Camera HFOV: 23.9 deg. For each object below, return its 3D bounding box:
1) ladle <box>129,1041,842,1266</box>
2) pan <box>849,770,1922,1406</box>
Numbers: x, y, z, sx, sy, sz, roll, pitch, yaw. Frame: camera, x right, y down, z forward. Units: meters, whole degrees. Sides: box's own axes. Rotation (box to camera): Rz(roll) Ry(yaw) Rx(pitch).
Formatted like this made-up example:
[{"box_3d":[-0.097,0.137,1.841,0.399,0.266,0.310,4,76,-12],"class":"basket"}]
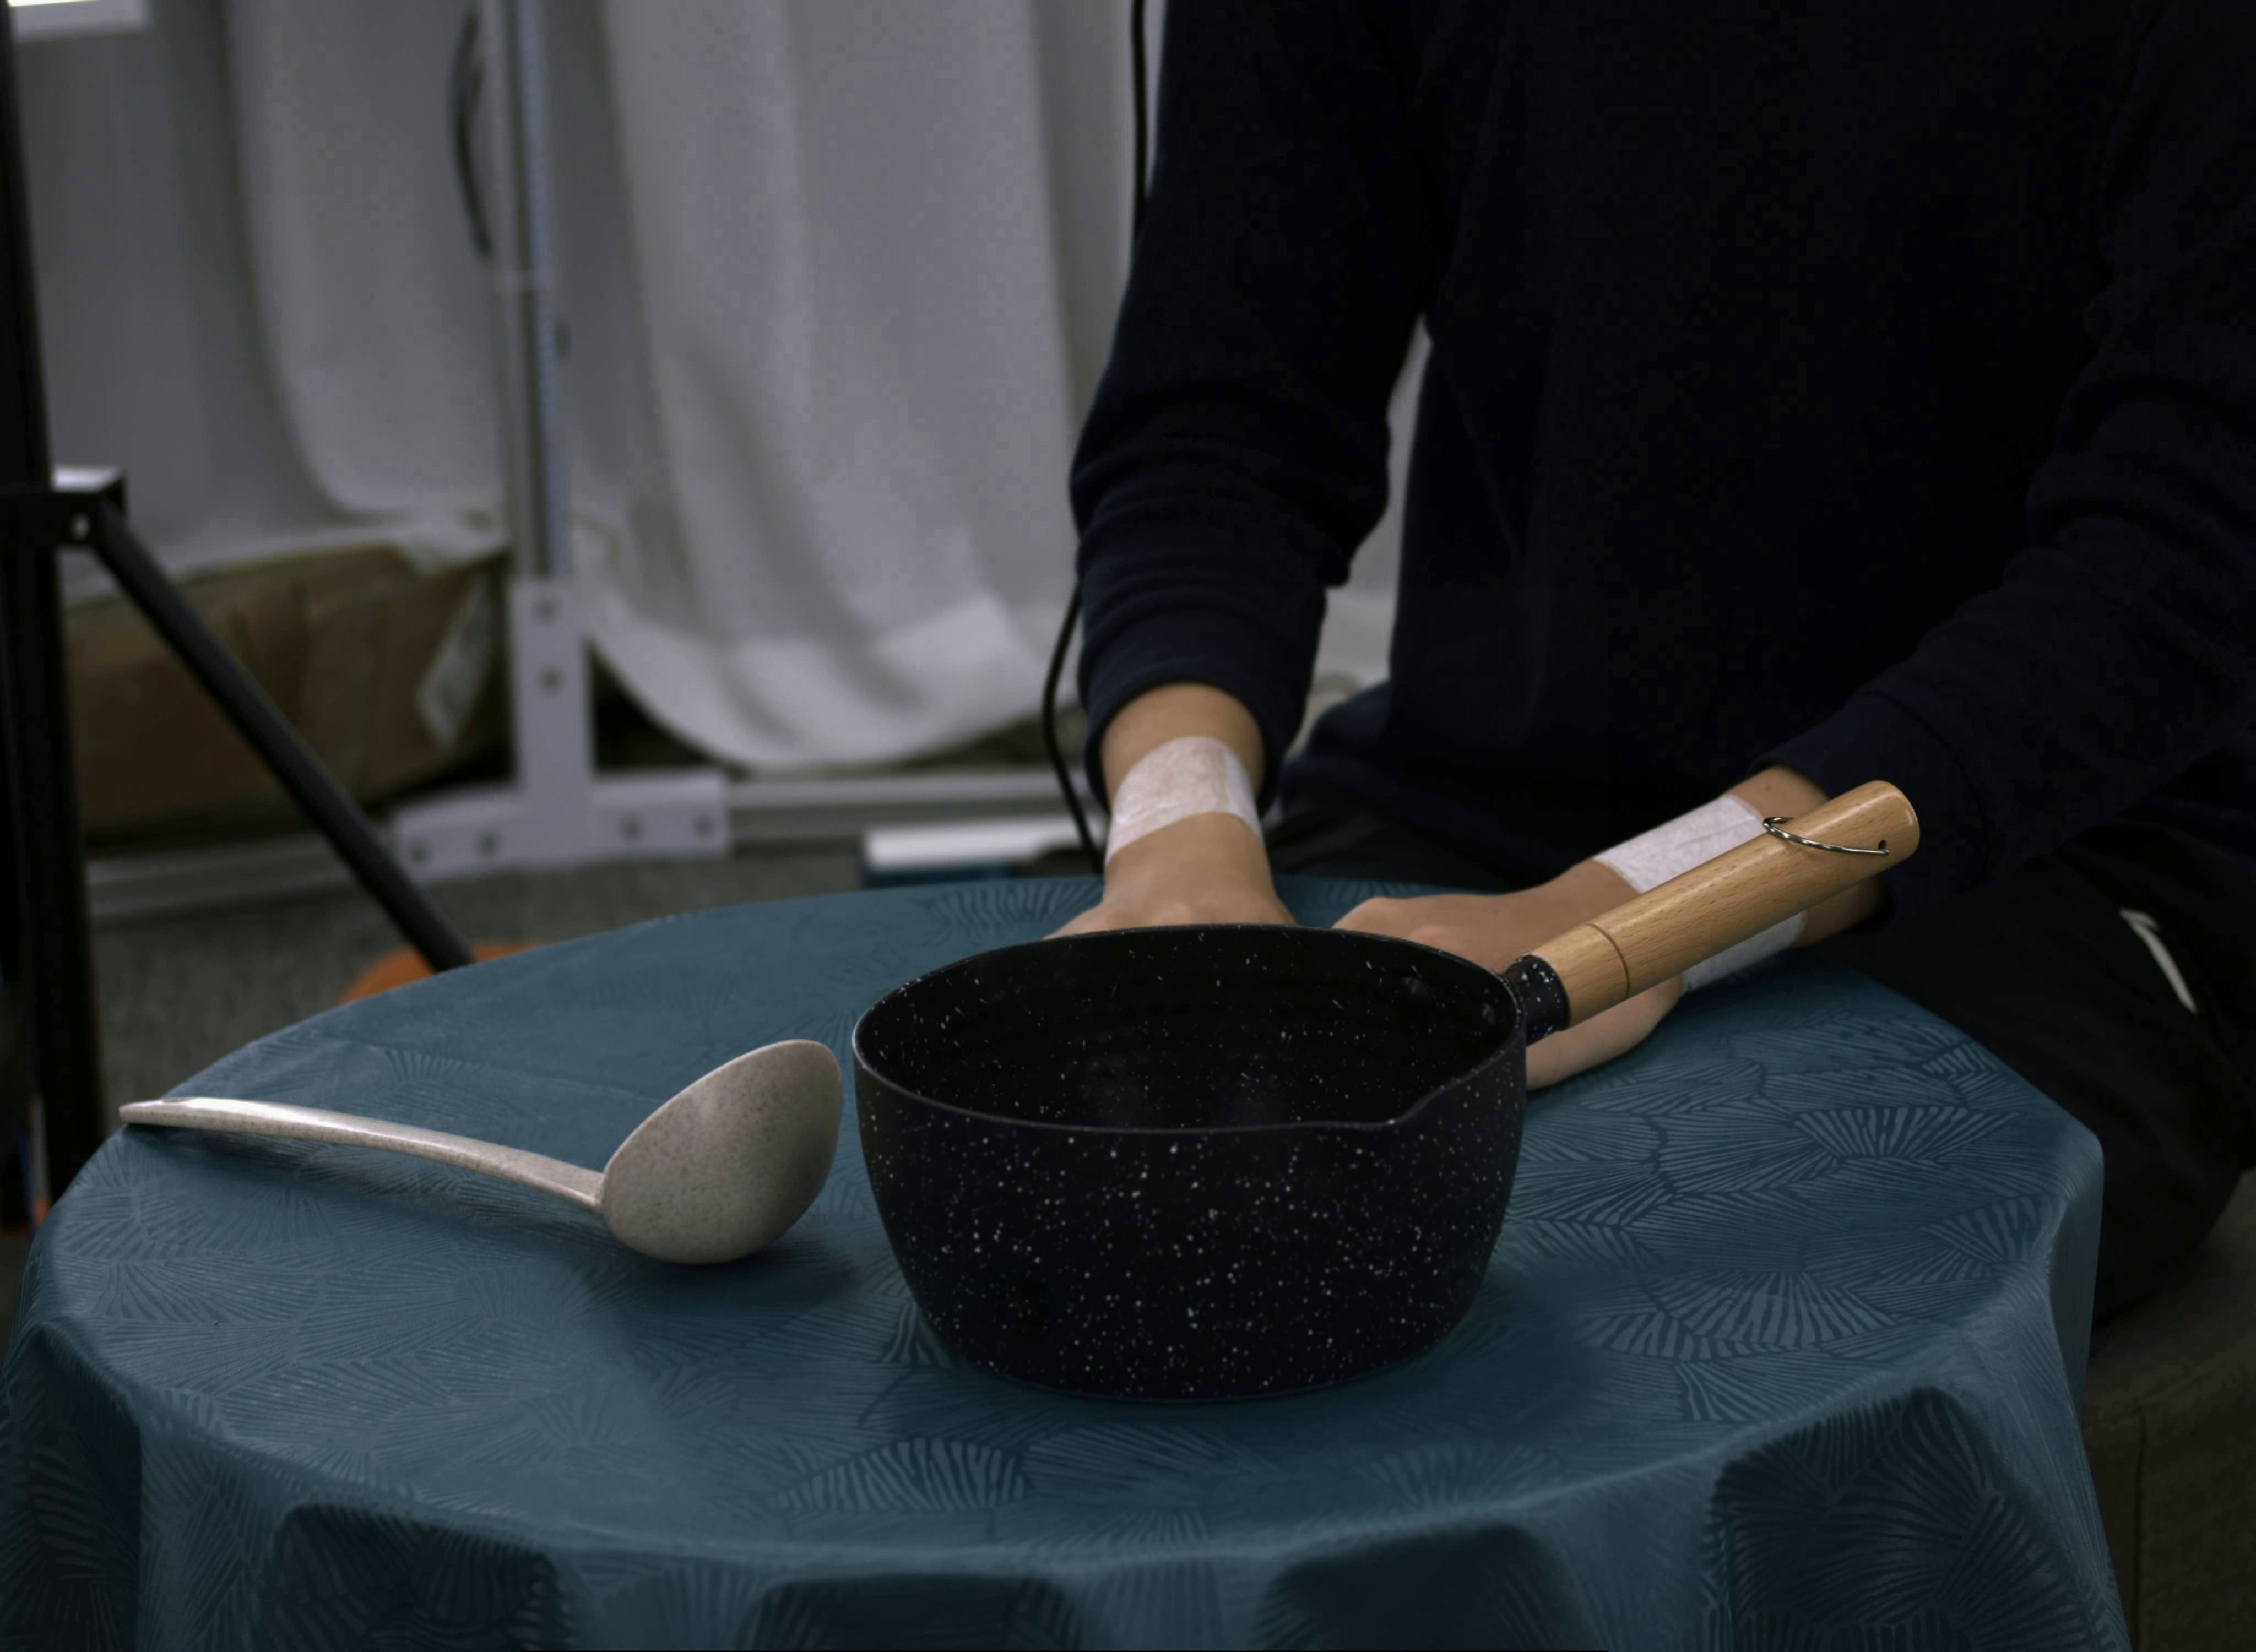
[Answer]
[{"box_3d":[-0.201,0.077,1.580,0.281,0.069,0.087,9,14,39],"class":"ladle"},{"box_3d":[0.084,0.068,1.487,0.335,0.108,0.212,-13,17,-29],"class":"pan"}]
